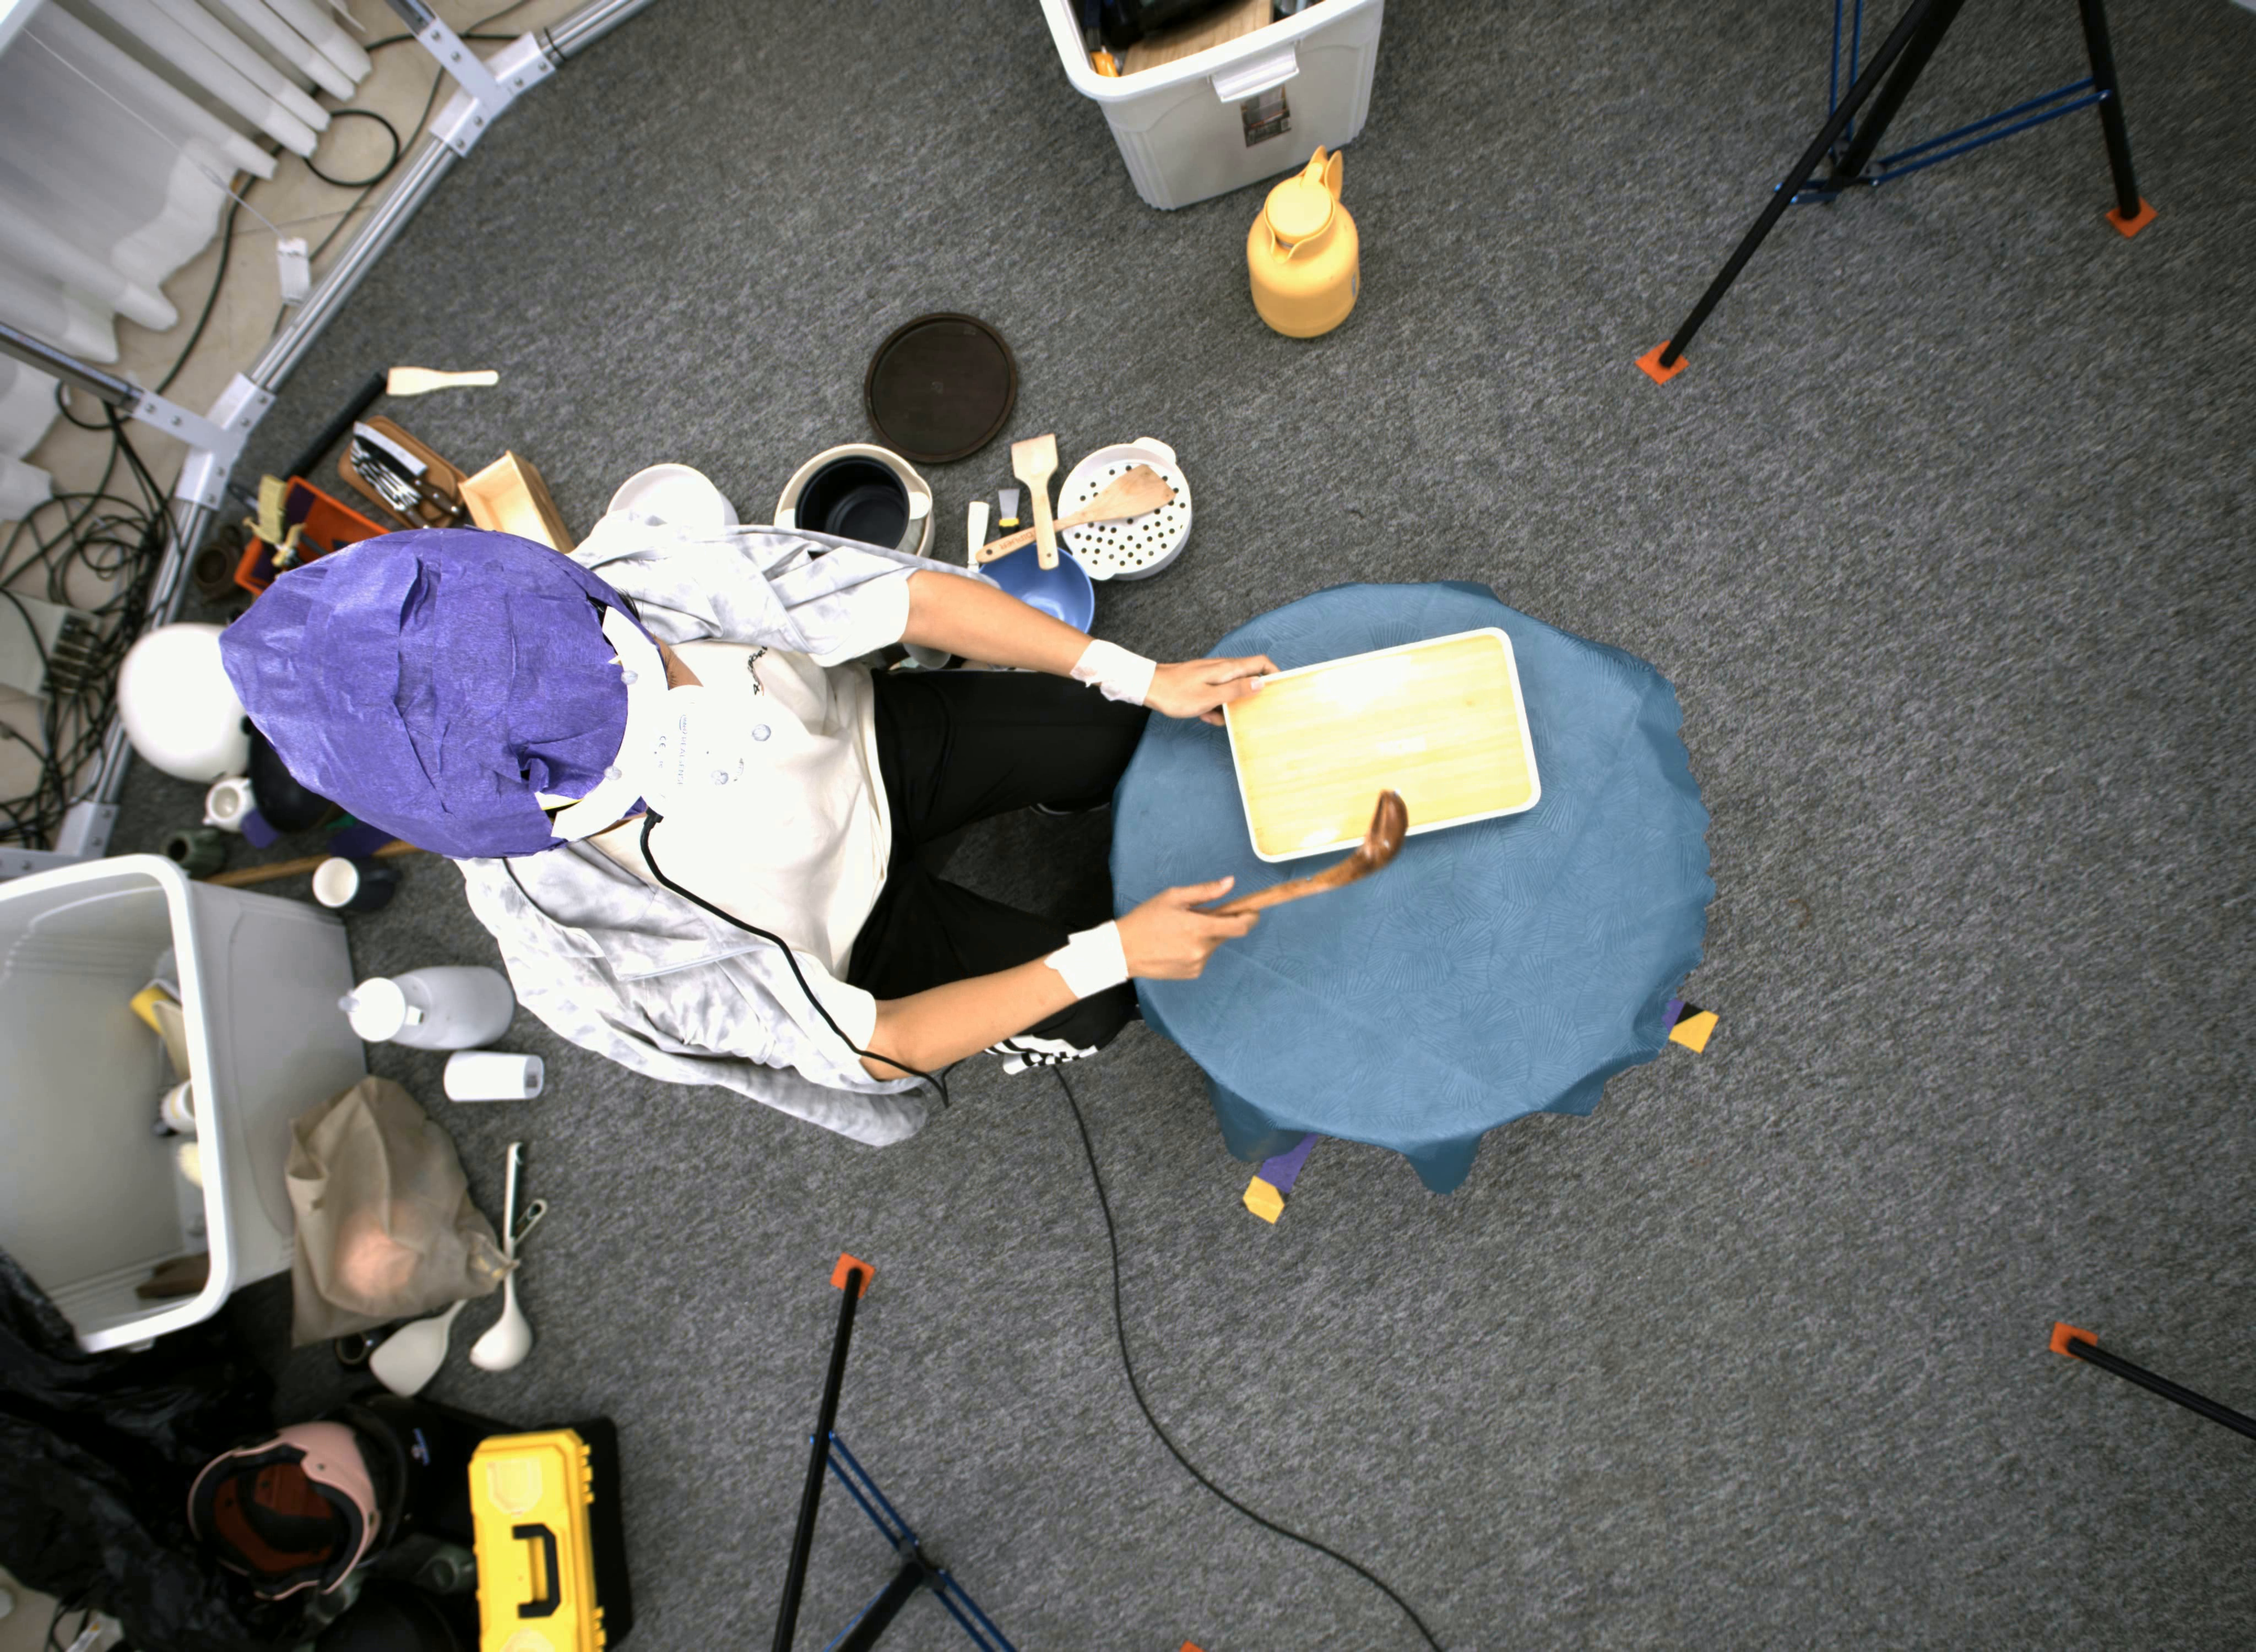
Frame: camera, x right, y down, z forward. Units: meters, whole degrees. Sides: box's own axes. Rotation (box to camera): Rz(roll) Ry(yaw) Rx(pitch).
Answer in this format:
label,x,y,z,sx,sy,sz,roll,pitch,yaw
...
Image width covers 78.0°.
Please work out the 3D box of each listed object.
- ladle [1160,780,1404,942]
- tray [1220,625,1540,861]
label,x,y,z,sx,sy,sz,roll,pitch,yaw
ladle,0.141,0.034,1.337,0.277,0.080,0.077,-21,101,19
tray,0.258,-0.086,1.413,0.301,0.027,0.192,-12,94,6
